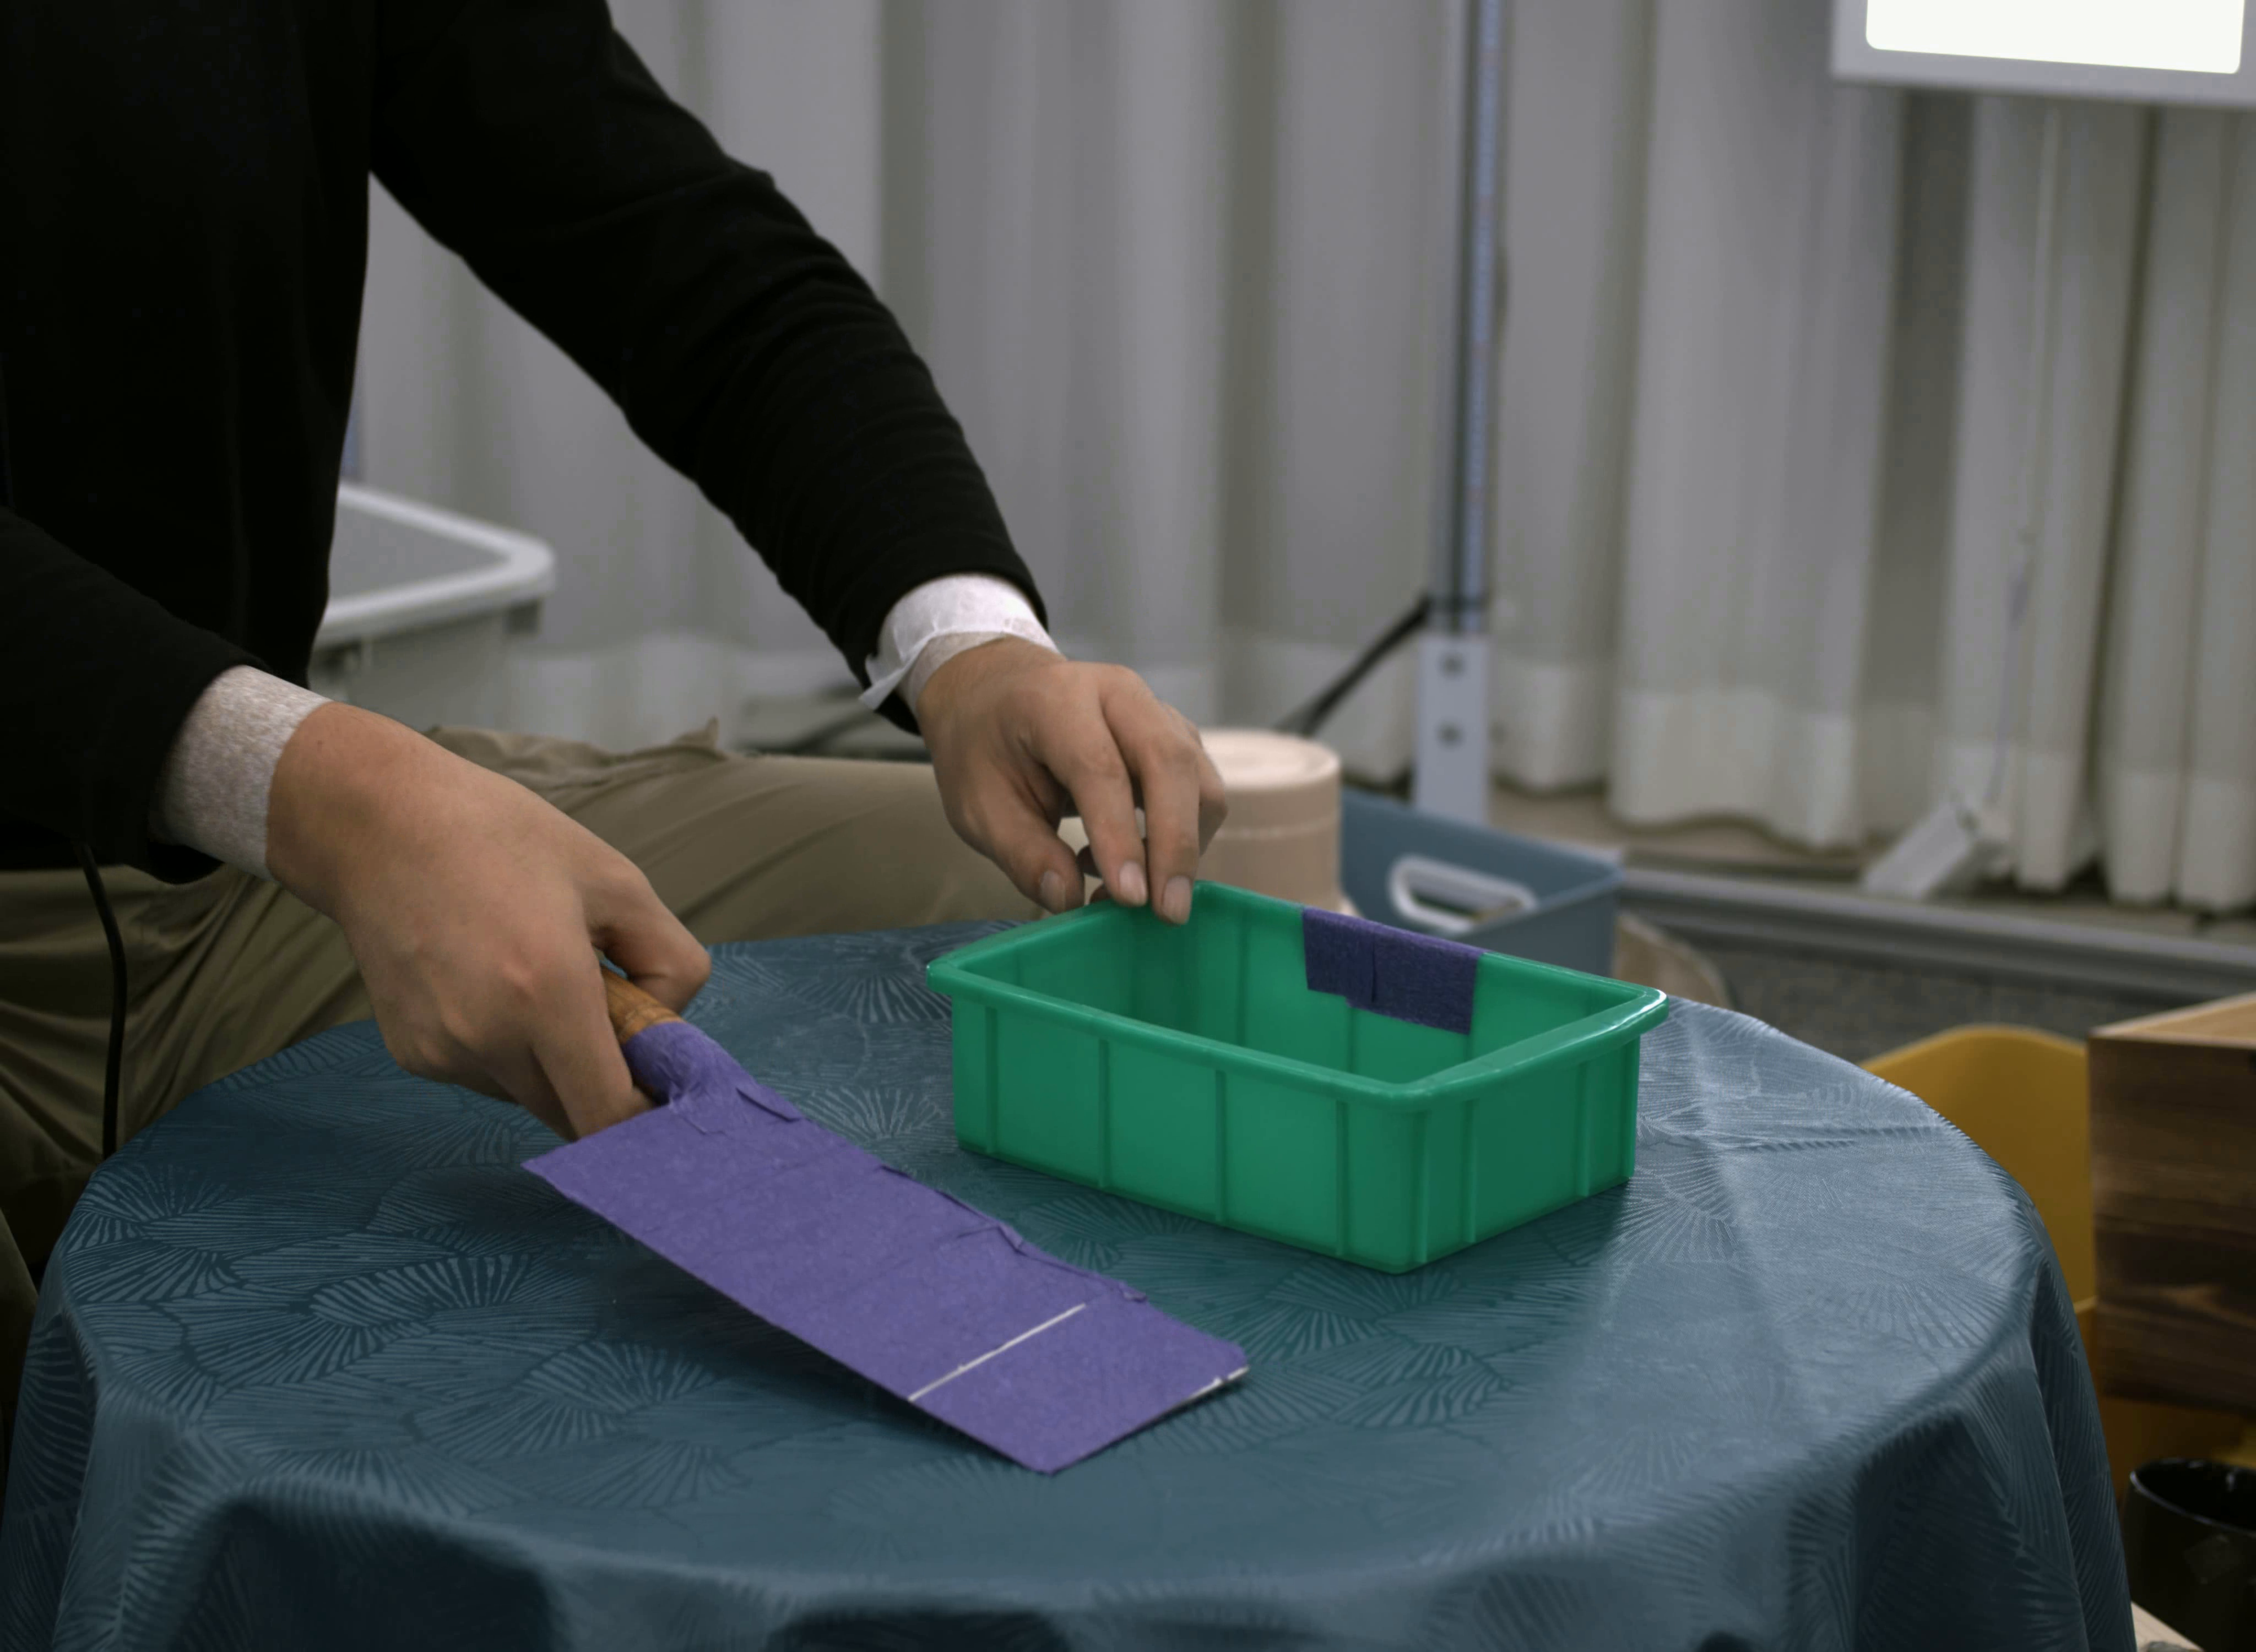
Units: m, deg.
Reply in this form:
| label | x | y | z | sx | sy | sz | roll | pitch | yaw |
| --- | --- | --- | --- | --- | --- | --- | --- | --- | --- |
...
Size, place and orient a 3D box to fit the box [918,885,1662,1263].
| label | x | y | z | sx | sy | sz | roll | pitch | yaw |
| --- | --- | --- | --- | --- | --- | --- | --- | --- | --- |
| box | 0.049 | 0.076 | 1.639 | 0.208 | 0.066 | 0.139 | 11 | 17 | 38 |

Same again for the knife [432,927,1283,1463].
| label | x | y | z | sx | sy | sz | roll | pitch | yaw |
| --- | --- | --- | --- | --- | --- | --- | --- | --- | --- |
| knife | -0.105 | 0.102 | 1.514 | 0.311 | 0.032 | 0.104 | 23 | 27 | 33 |
